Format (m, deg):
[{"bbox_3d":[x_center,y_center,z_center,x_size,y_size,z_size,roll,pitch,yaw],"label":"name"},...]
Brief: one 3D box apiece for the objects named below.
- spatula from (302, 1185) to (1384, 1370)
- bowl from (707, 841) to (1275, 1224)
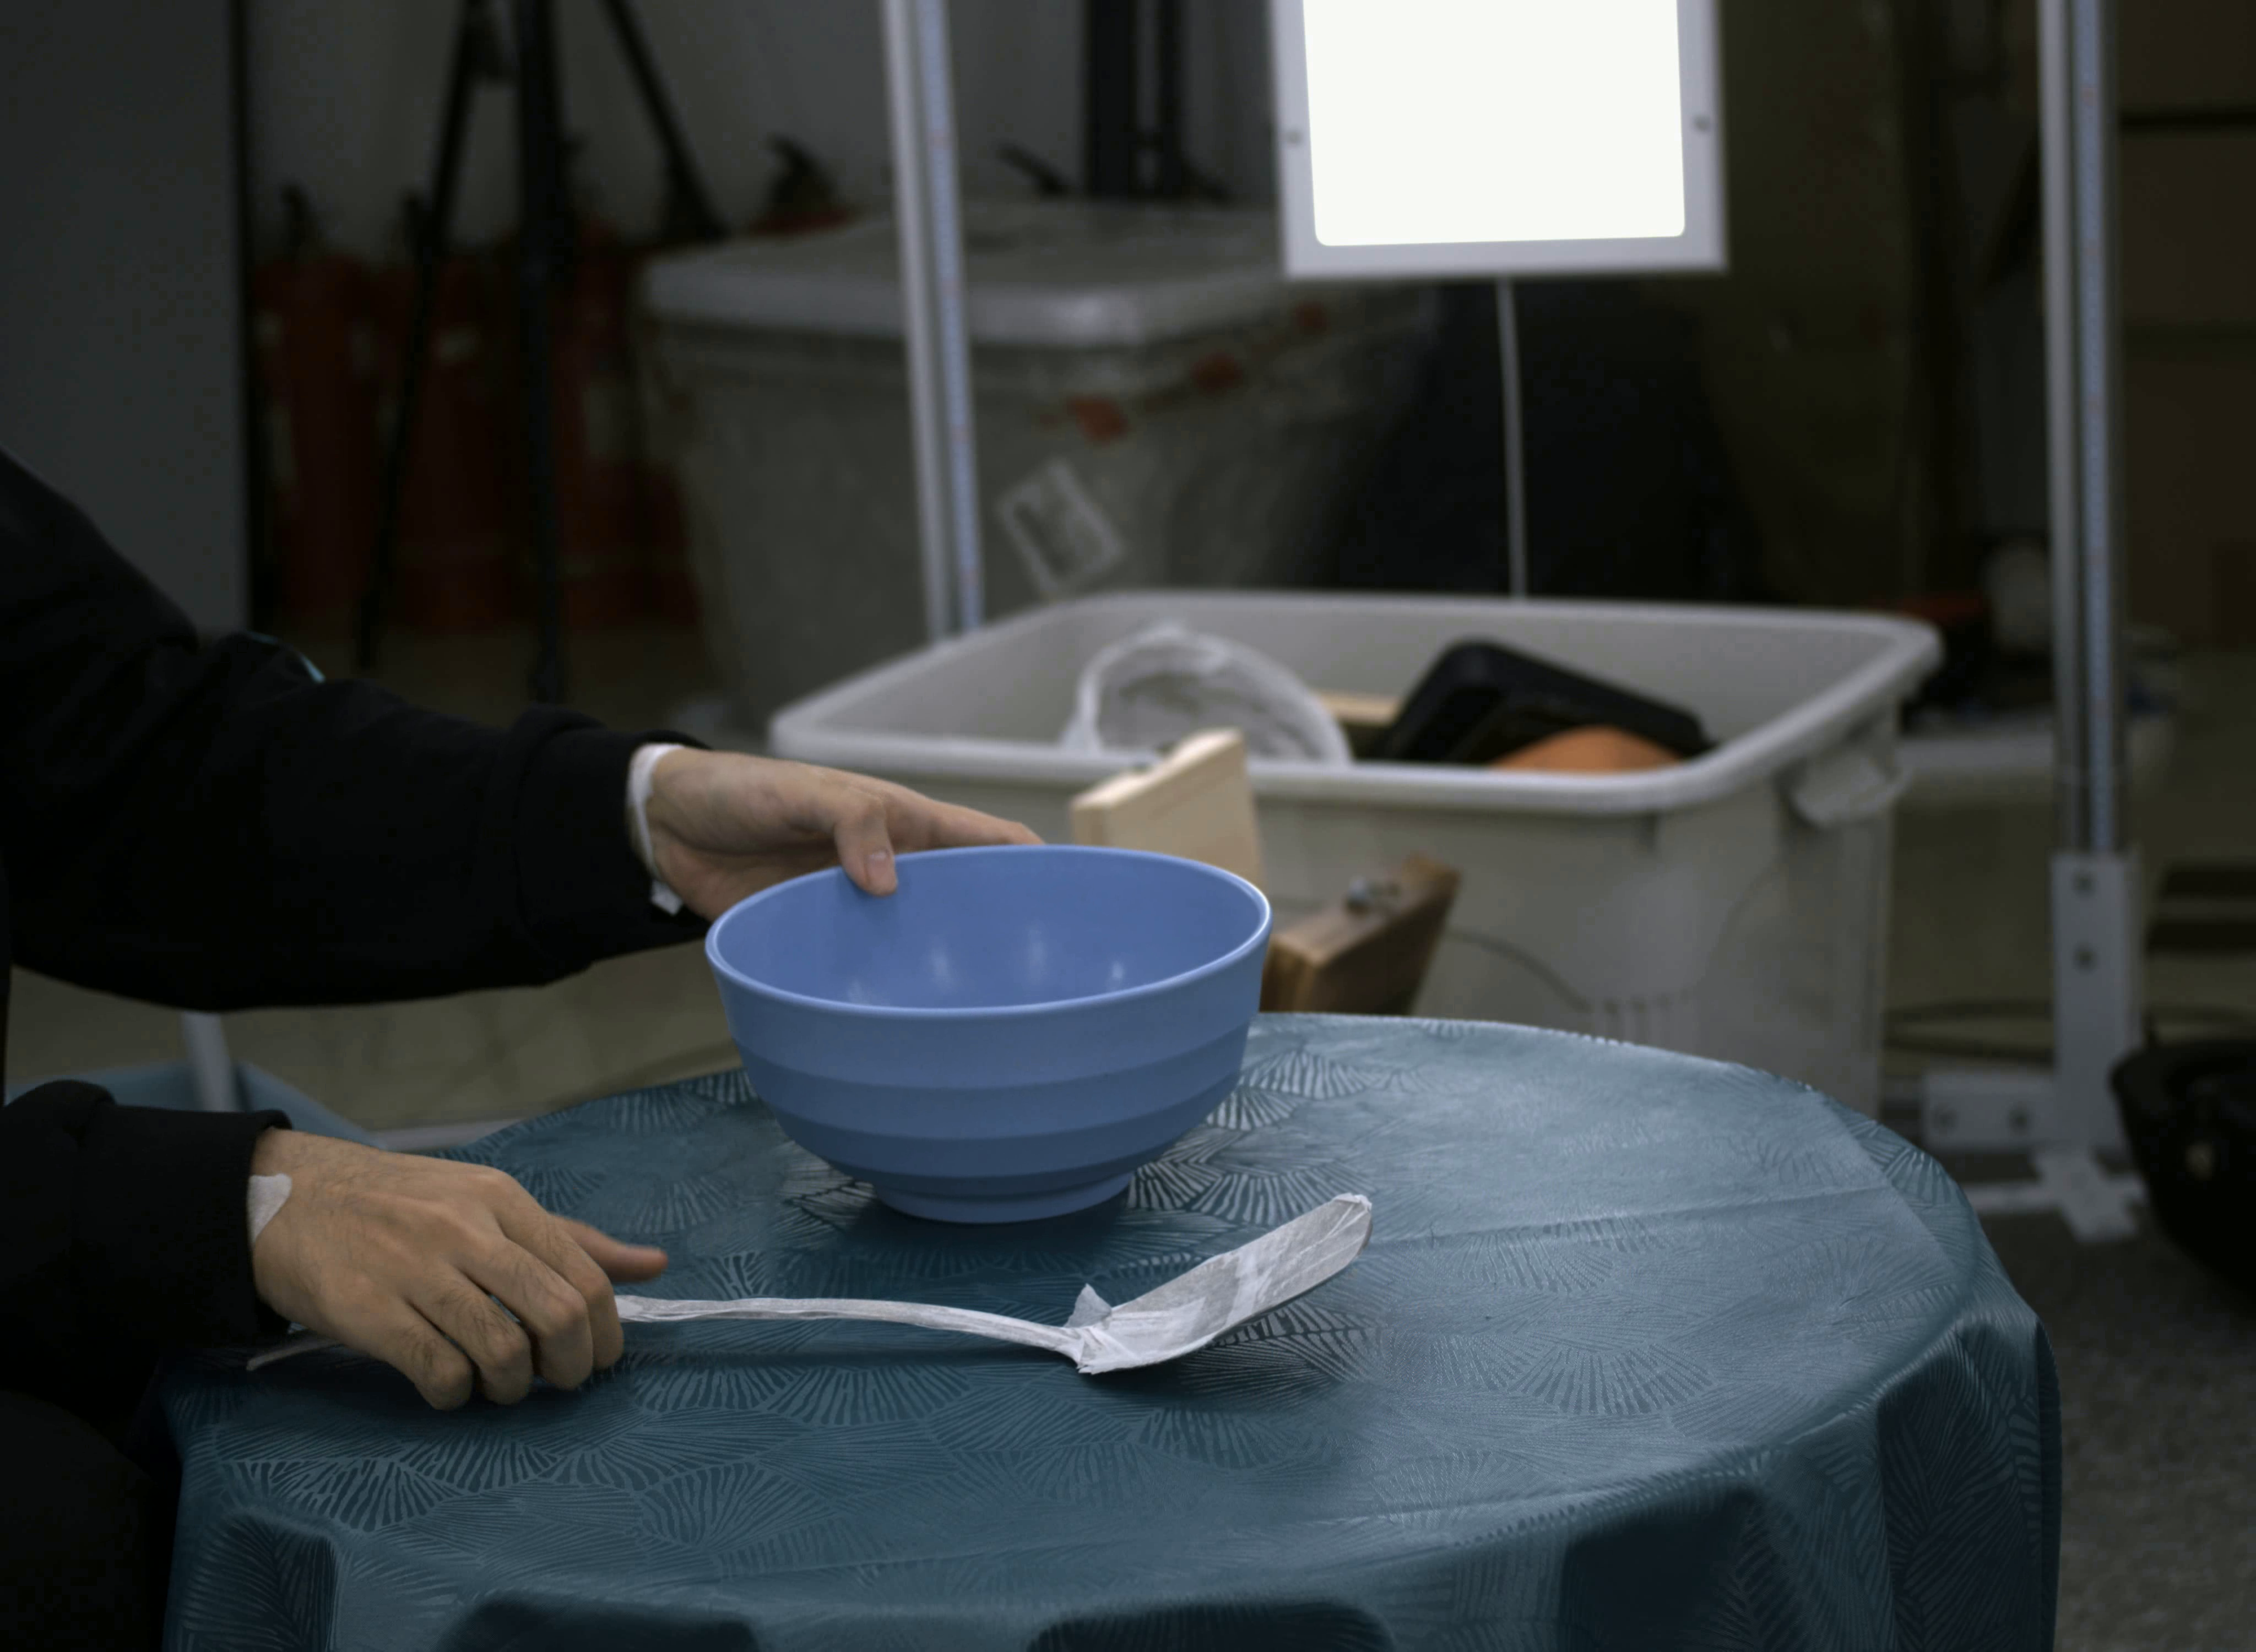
[{"bbox_3d":[-0.098,0.149,1.759,0.368,0.045,0.097,-1,16,14],"label":"spatula"},{"bbox_3d":[-0.045,0.078,1.906,0.196,0.096,0.196,-3,16,0],"label":"bowl"}]
